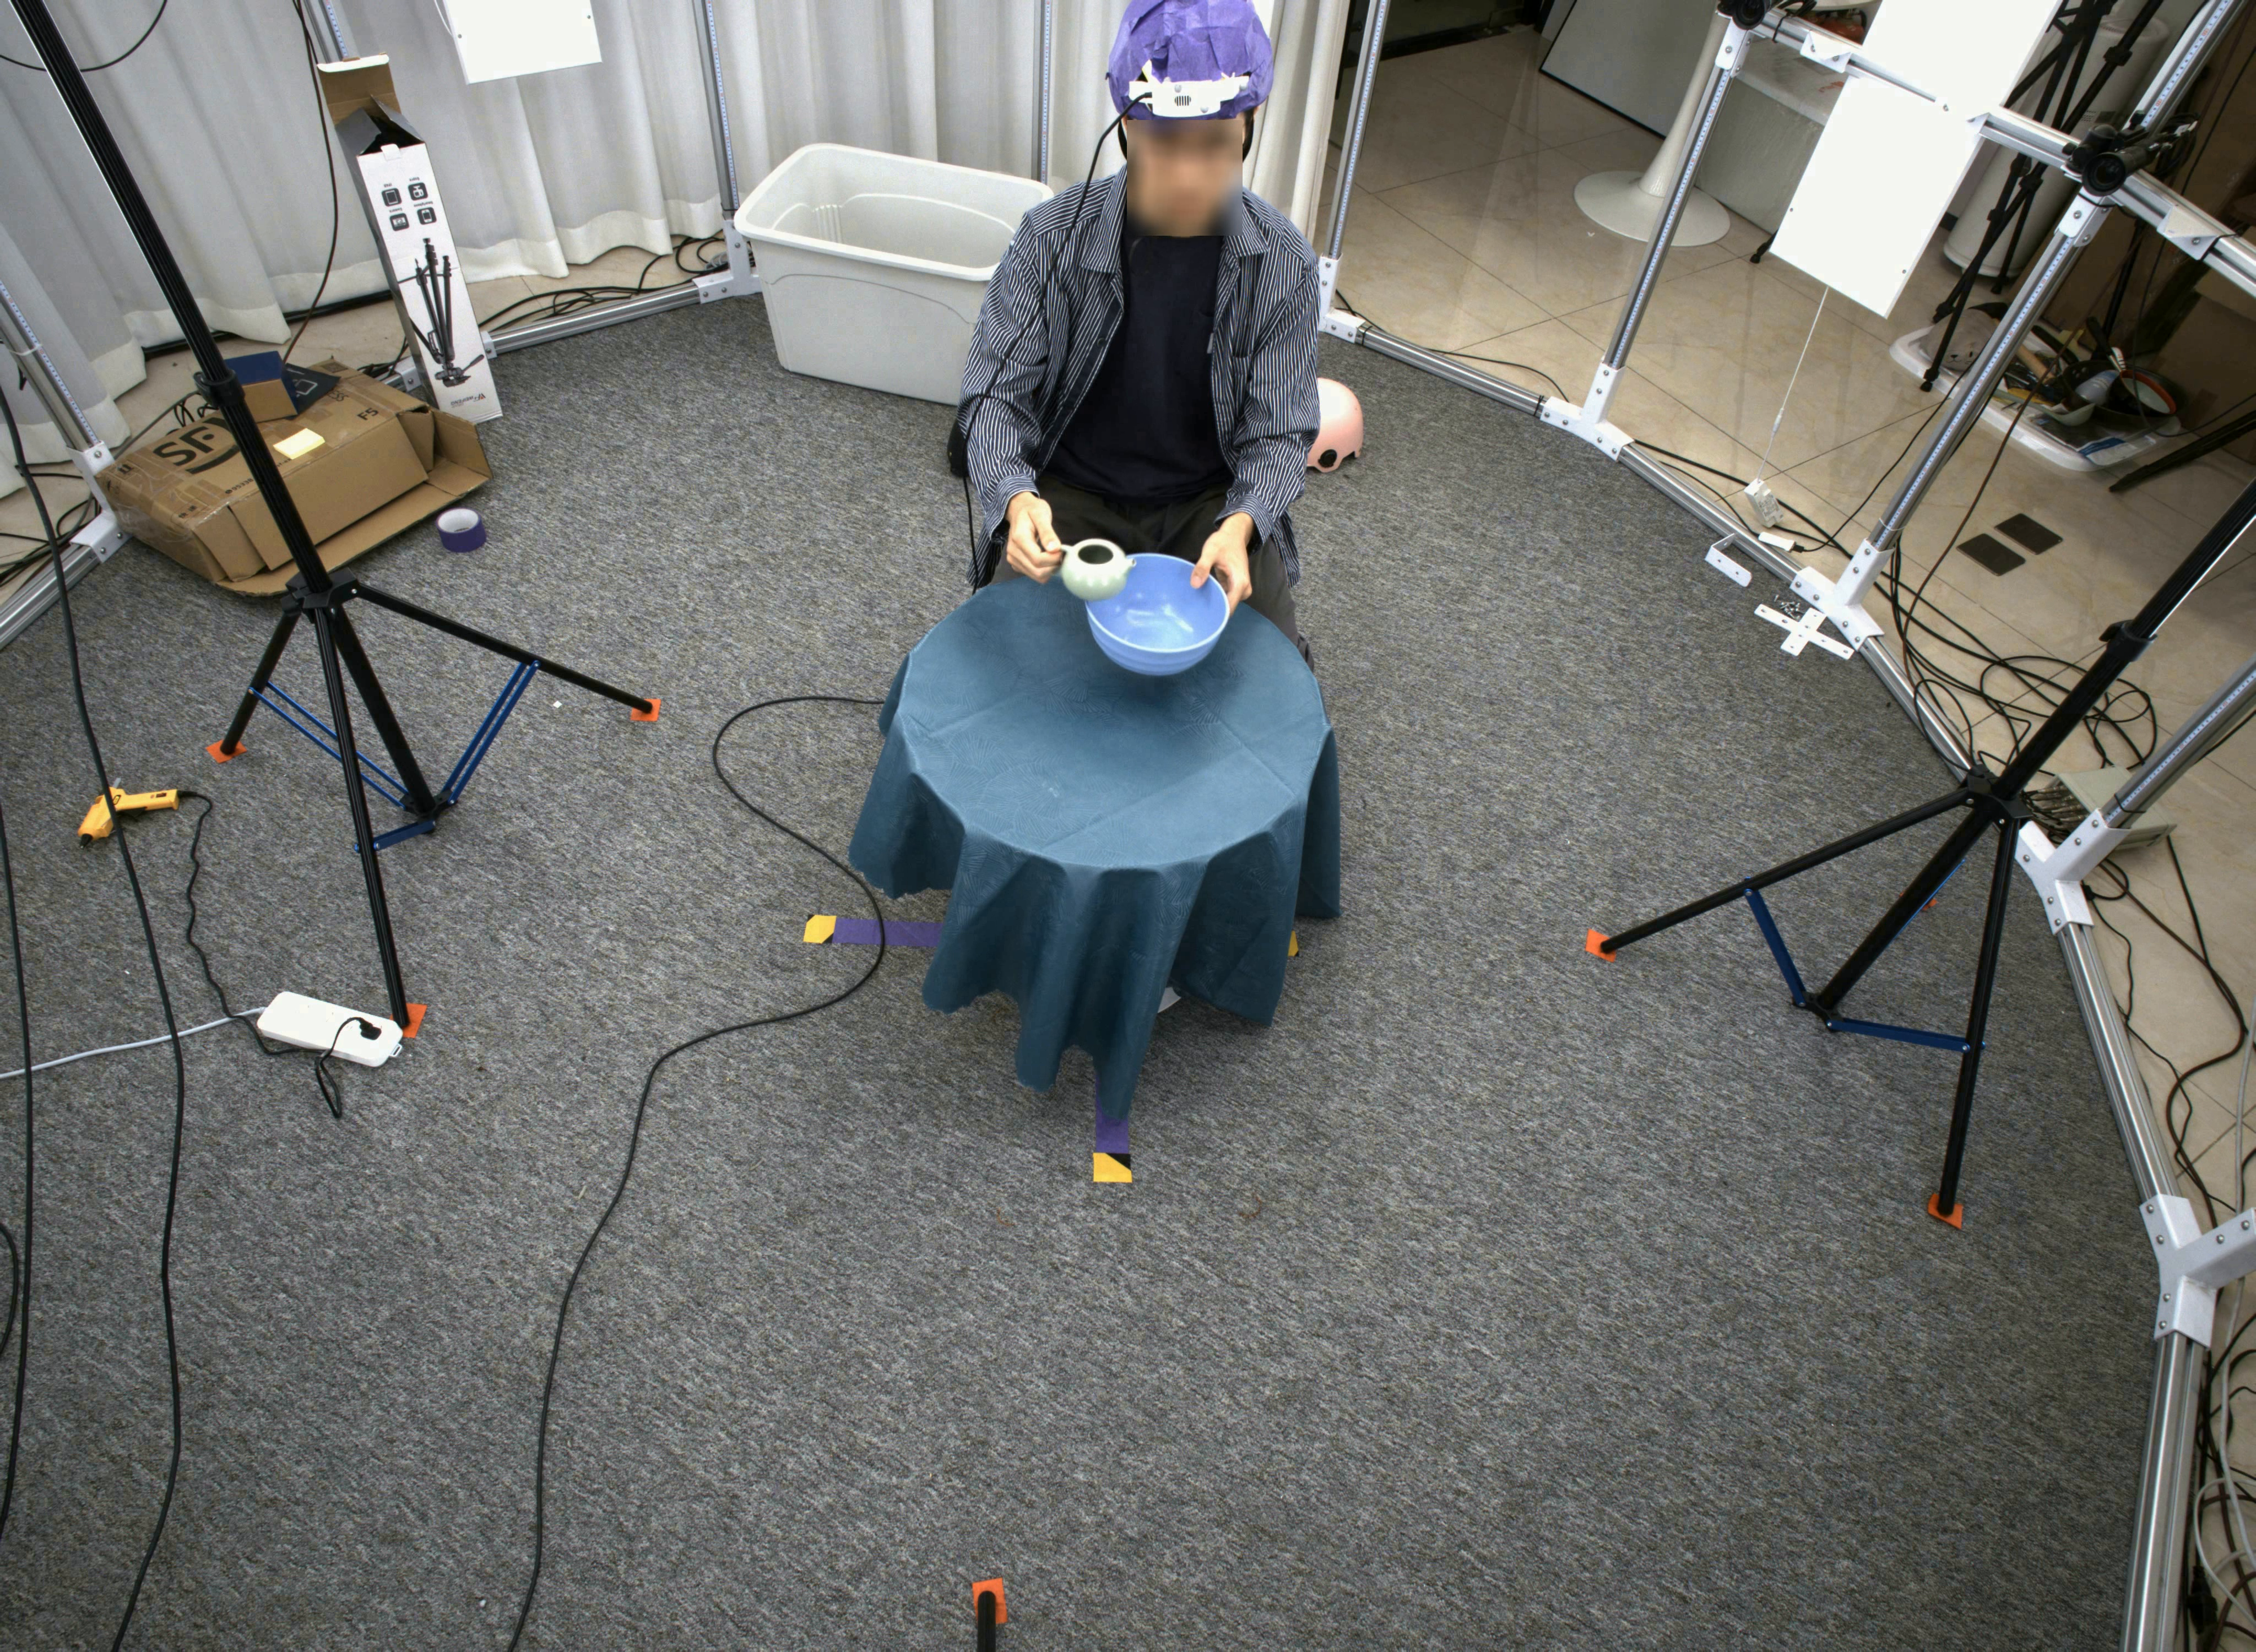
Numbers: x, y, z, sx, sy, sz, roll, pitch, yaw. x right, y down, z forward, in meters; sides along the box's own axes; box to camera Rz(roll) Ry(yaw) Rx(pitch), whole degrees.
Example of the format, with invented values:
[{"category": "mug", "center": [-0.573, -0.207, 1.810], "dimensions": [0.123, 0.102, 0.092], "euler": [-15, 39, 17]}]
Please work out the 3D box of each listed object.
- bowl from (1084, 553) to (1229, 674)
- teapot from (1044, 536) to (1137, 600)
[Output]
[{"category": "bowl", "center": [0.034, -0.276, 1.760], "dimensions": [0.196, 0.093, 0.201], "euler": [4, 49, -5]}, {"category": "teapot", "center": [-0.050, -0.343, 1.705], "dimensions": [0.129, 0.059, 0.093], "euler": [16, 48, 12]}]
